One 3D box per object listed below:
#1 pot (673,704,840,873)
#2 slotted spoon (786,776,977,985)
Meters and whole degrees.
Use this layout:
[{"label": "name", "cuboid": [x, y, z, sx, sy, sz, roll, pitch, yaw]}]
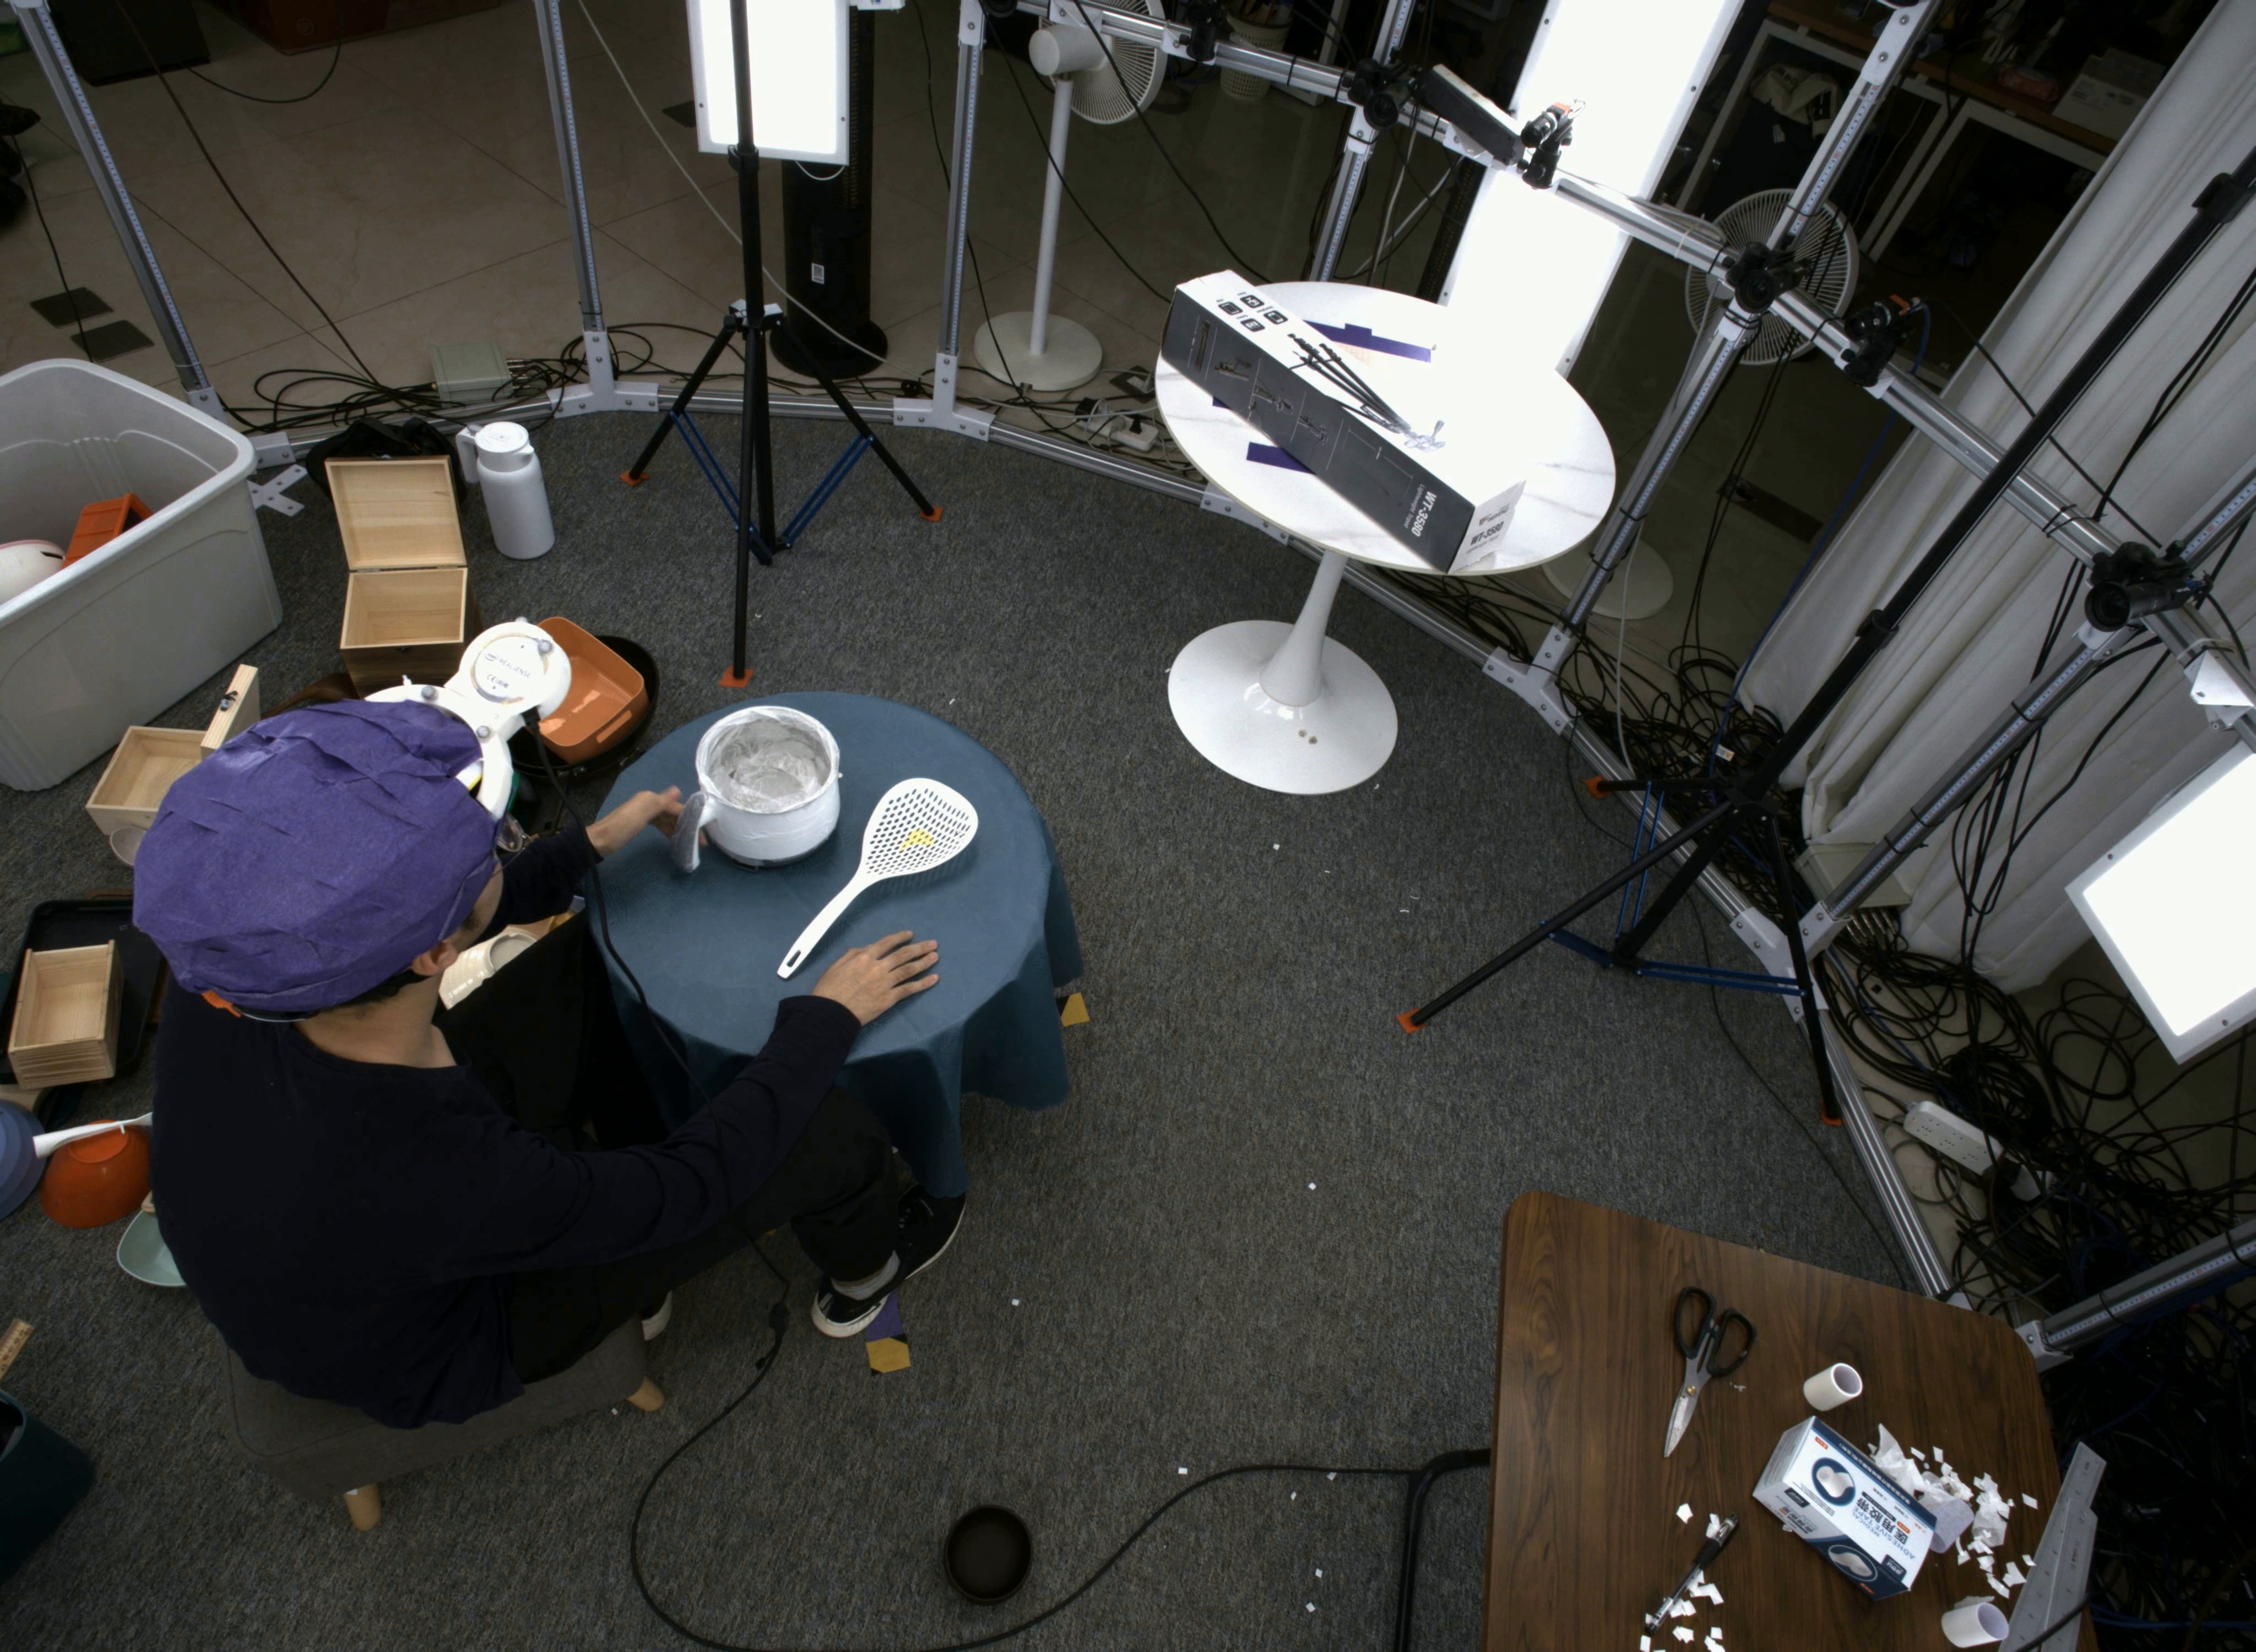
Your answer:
[{"label": "pot", "cuboid": [-0.482, -0.034, 1.658, 0.174, 0.140, 0.234, 38, 54, 19]}, {"label": "slotted spoon", "cuboid": [-0.330, 0.067, 1.681, 0.134, 0.051, 0.347, 32, 52, 10]}]
